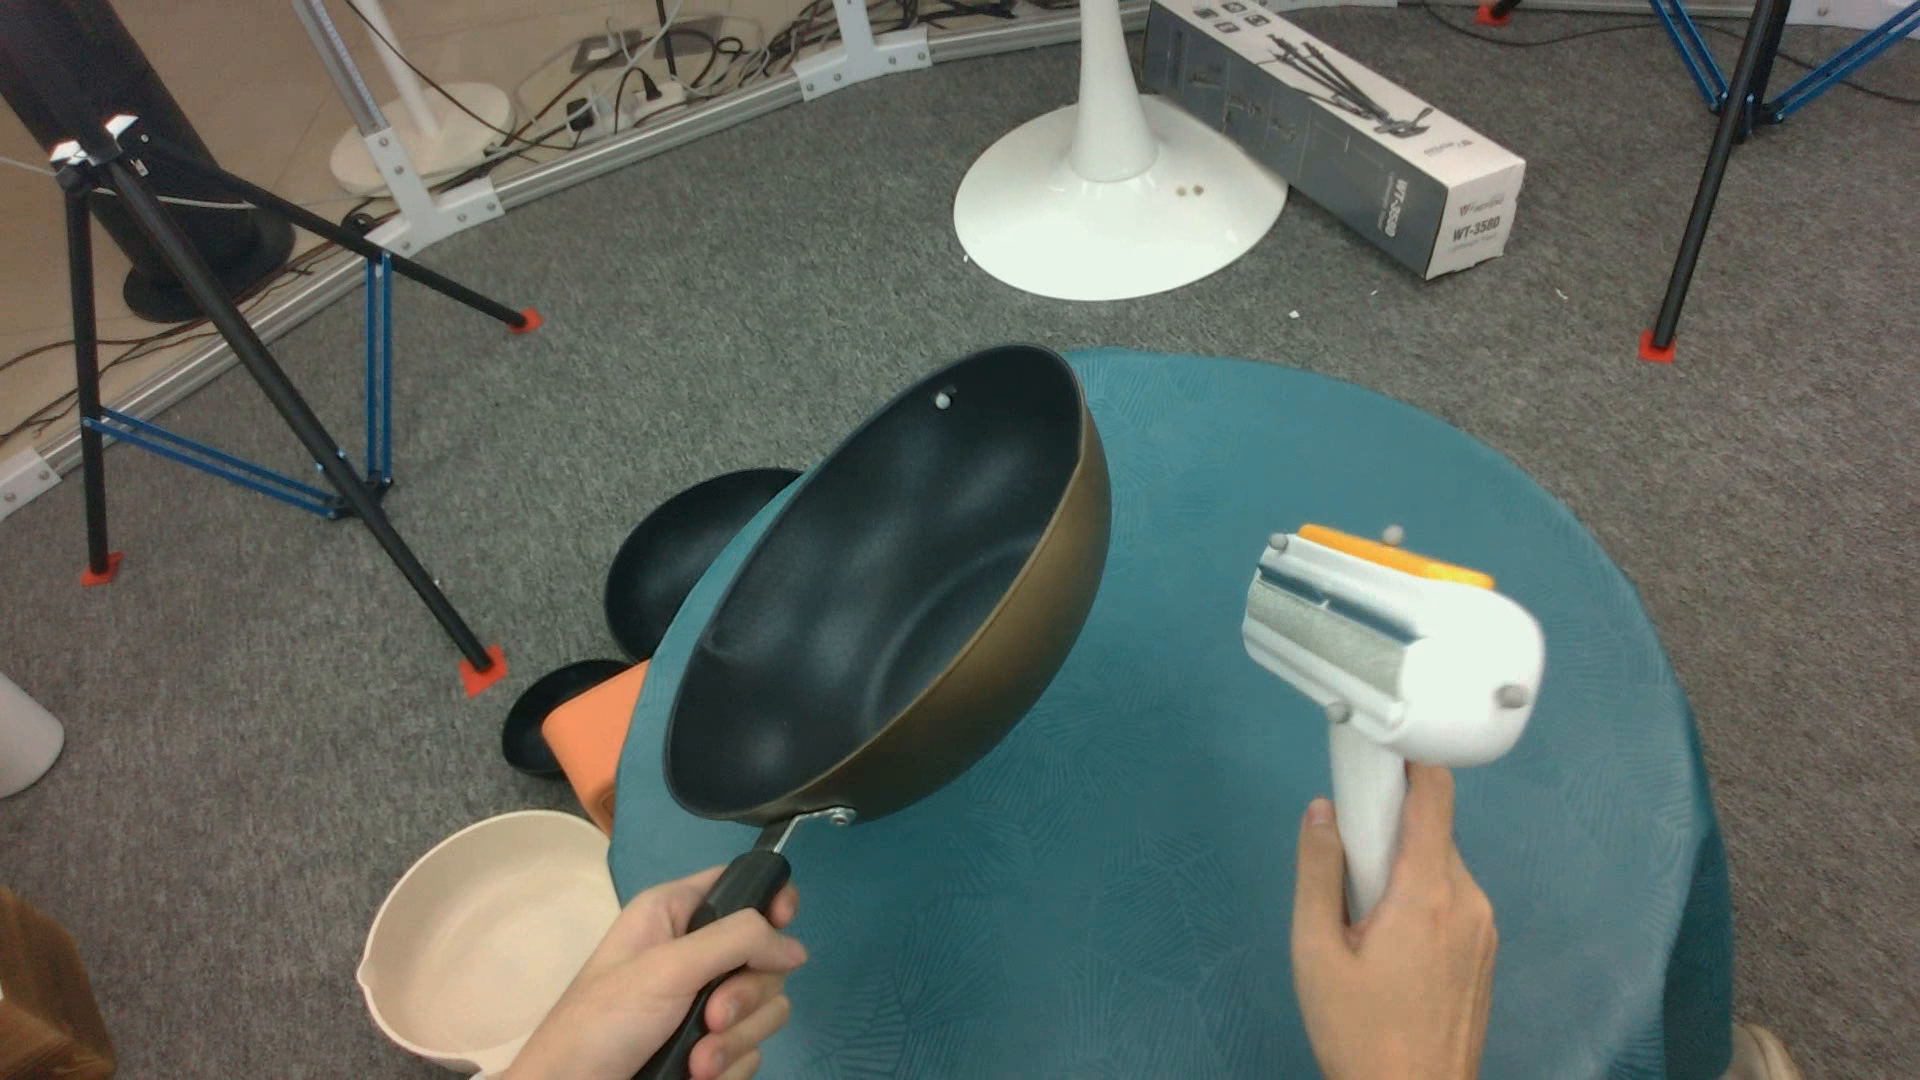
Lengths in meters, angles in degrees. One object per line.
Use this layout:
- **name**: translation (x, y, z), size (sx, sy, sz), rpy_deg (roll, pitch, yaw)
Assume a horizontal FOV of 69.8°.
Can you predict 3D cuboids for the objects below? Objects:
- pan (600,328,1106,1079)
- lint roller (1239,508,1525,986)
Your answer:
- **pan**: translation (-0.052, 0.096, 0.623), size (0.287, 0.087, 0.466), rpy_deg (-24, 35, 40)
- **lint roller**: translation (0.164, 0.093, 0.569), size (0.074, 0.192, 0.193), rpy_deg (3, 11, -9)
